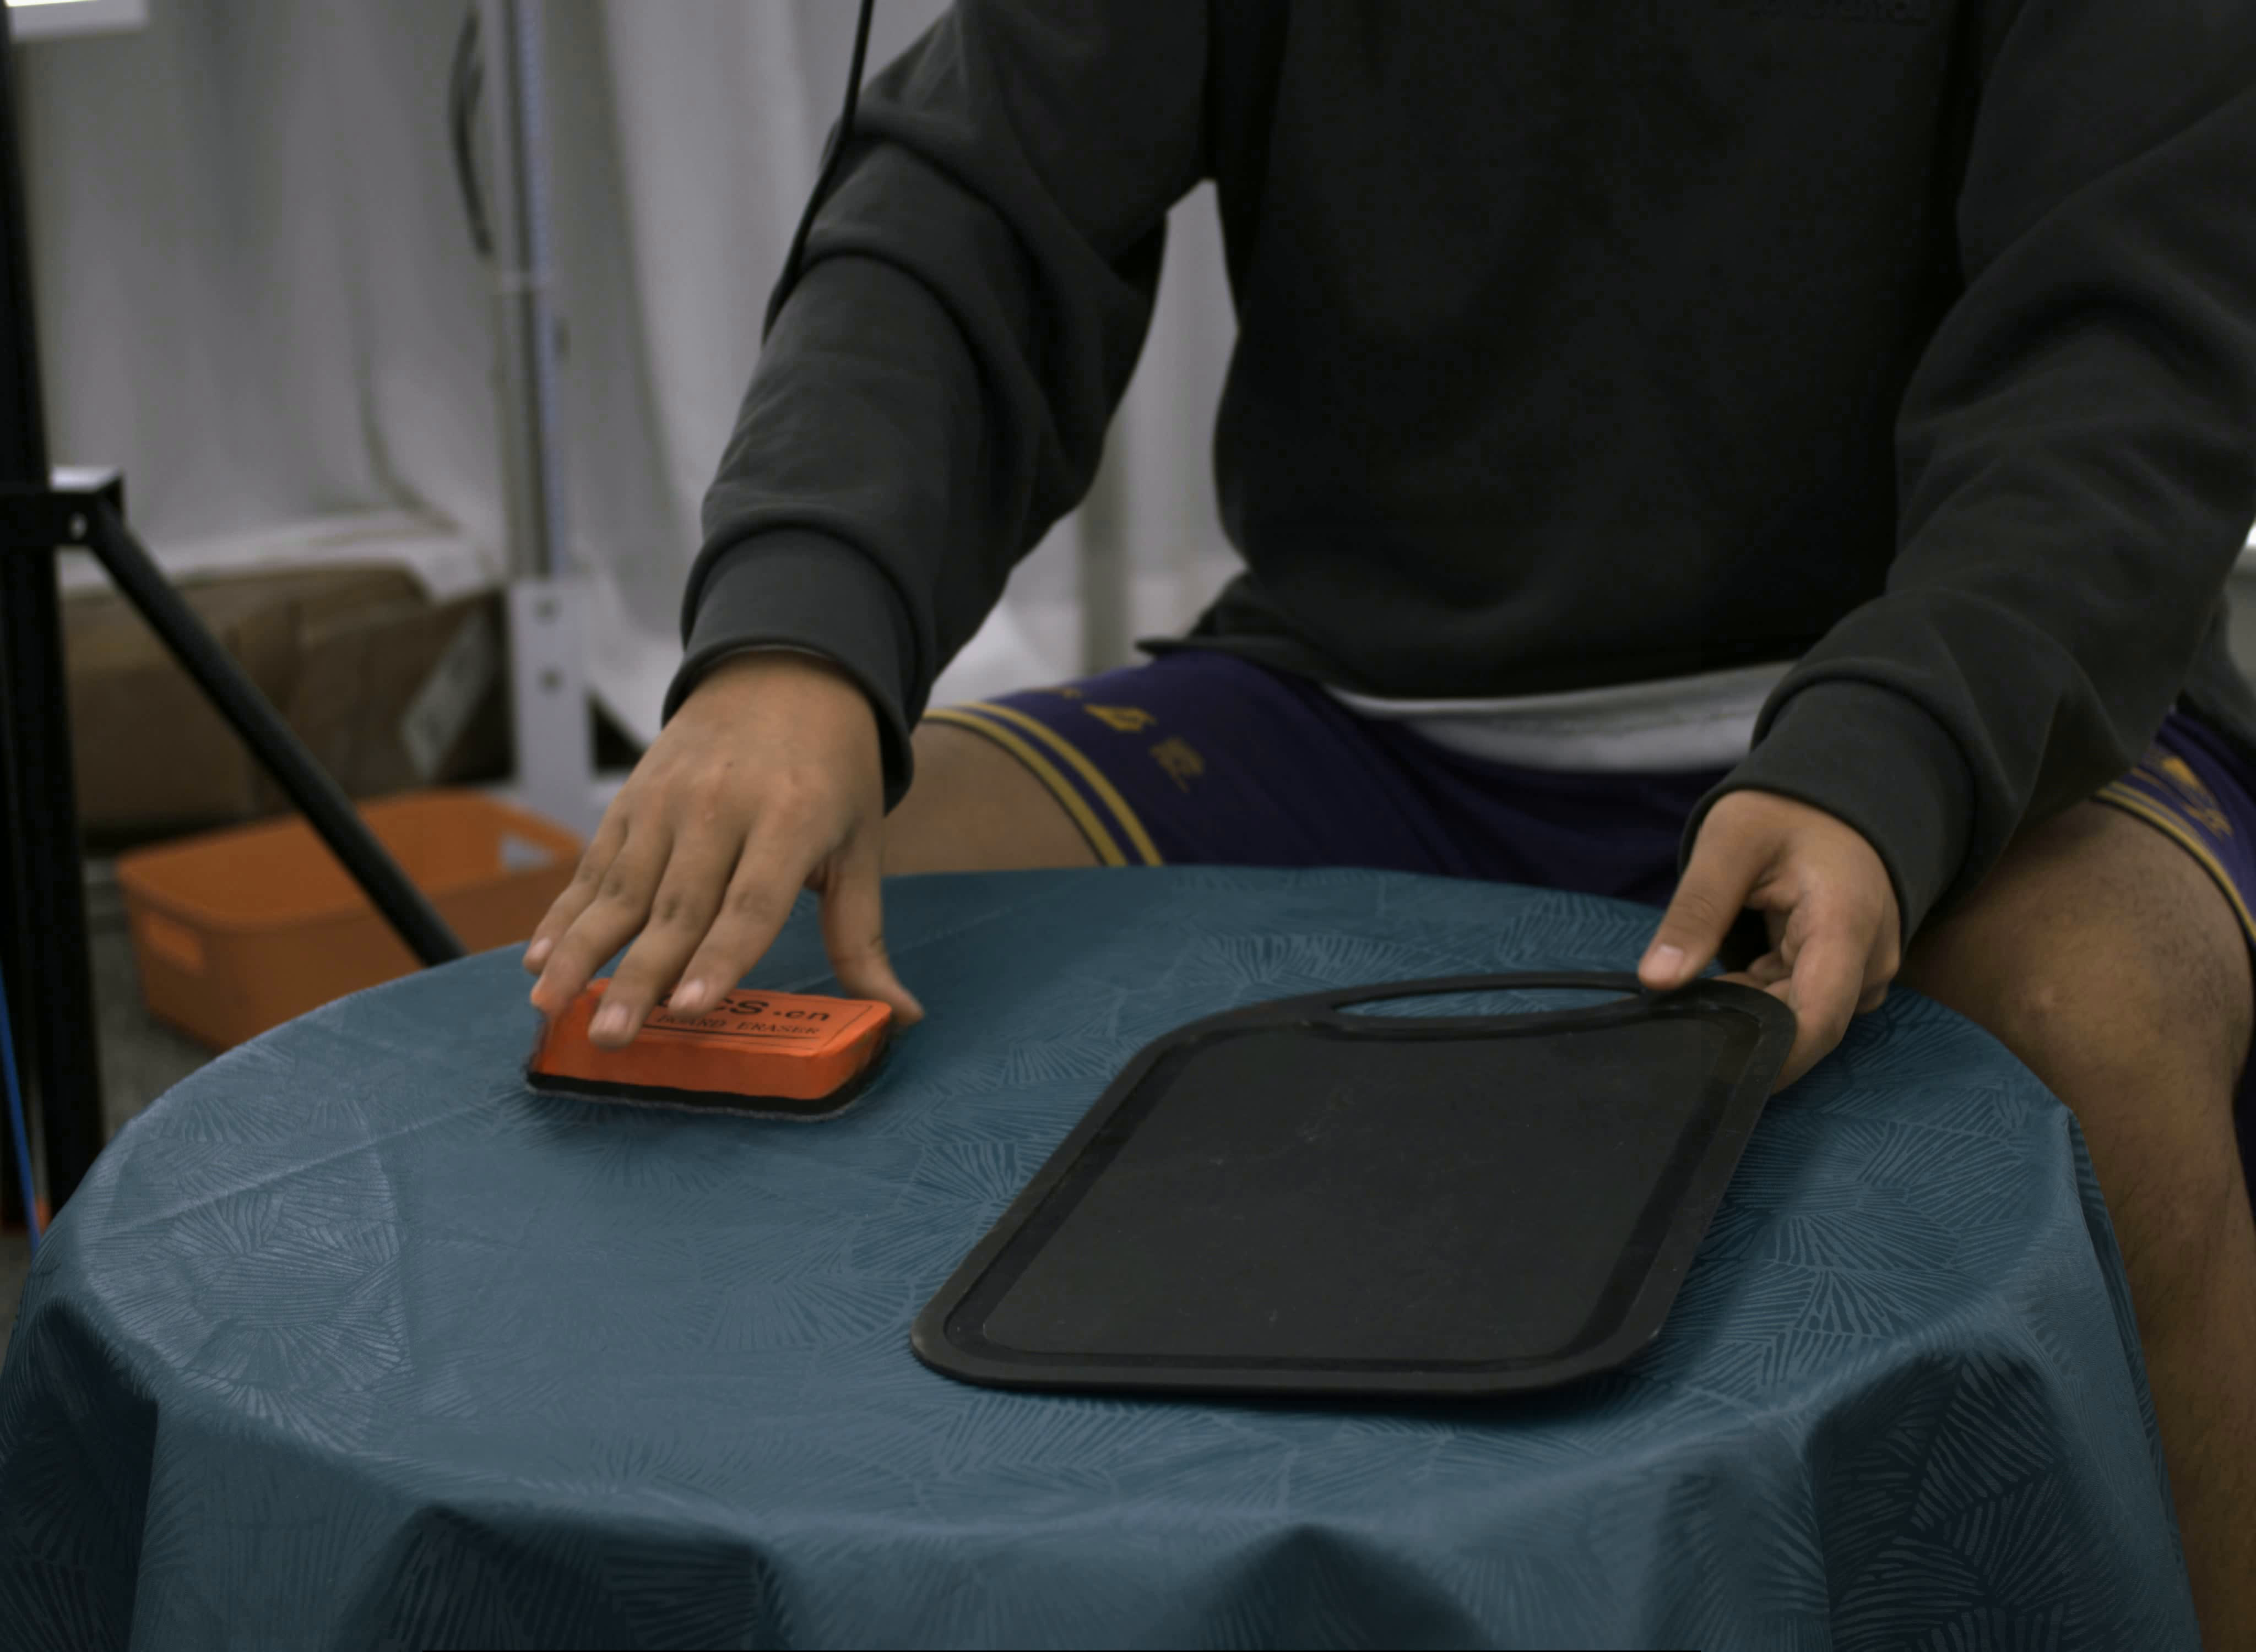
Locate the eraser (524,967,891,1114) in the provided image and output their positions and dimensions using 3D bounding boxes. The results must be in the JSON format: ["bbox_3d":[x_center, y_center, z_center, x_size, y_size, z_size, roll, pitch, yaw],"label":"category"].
[{"bbox_3d":[-0.131,0.067,1.674,0.109,0.023,0.058,6,18,22],"label":"eraser"}]

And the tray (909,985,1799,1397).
[{"bbox_3d":[0.073,0.099,1.535,0.213,0.010,0.322,-1,17,19],"label":"tray"}]
